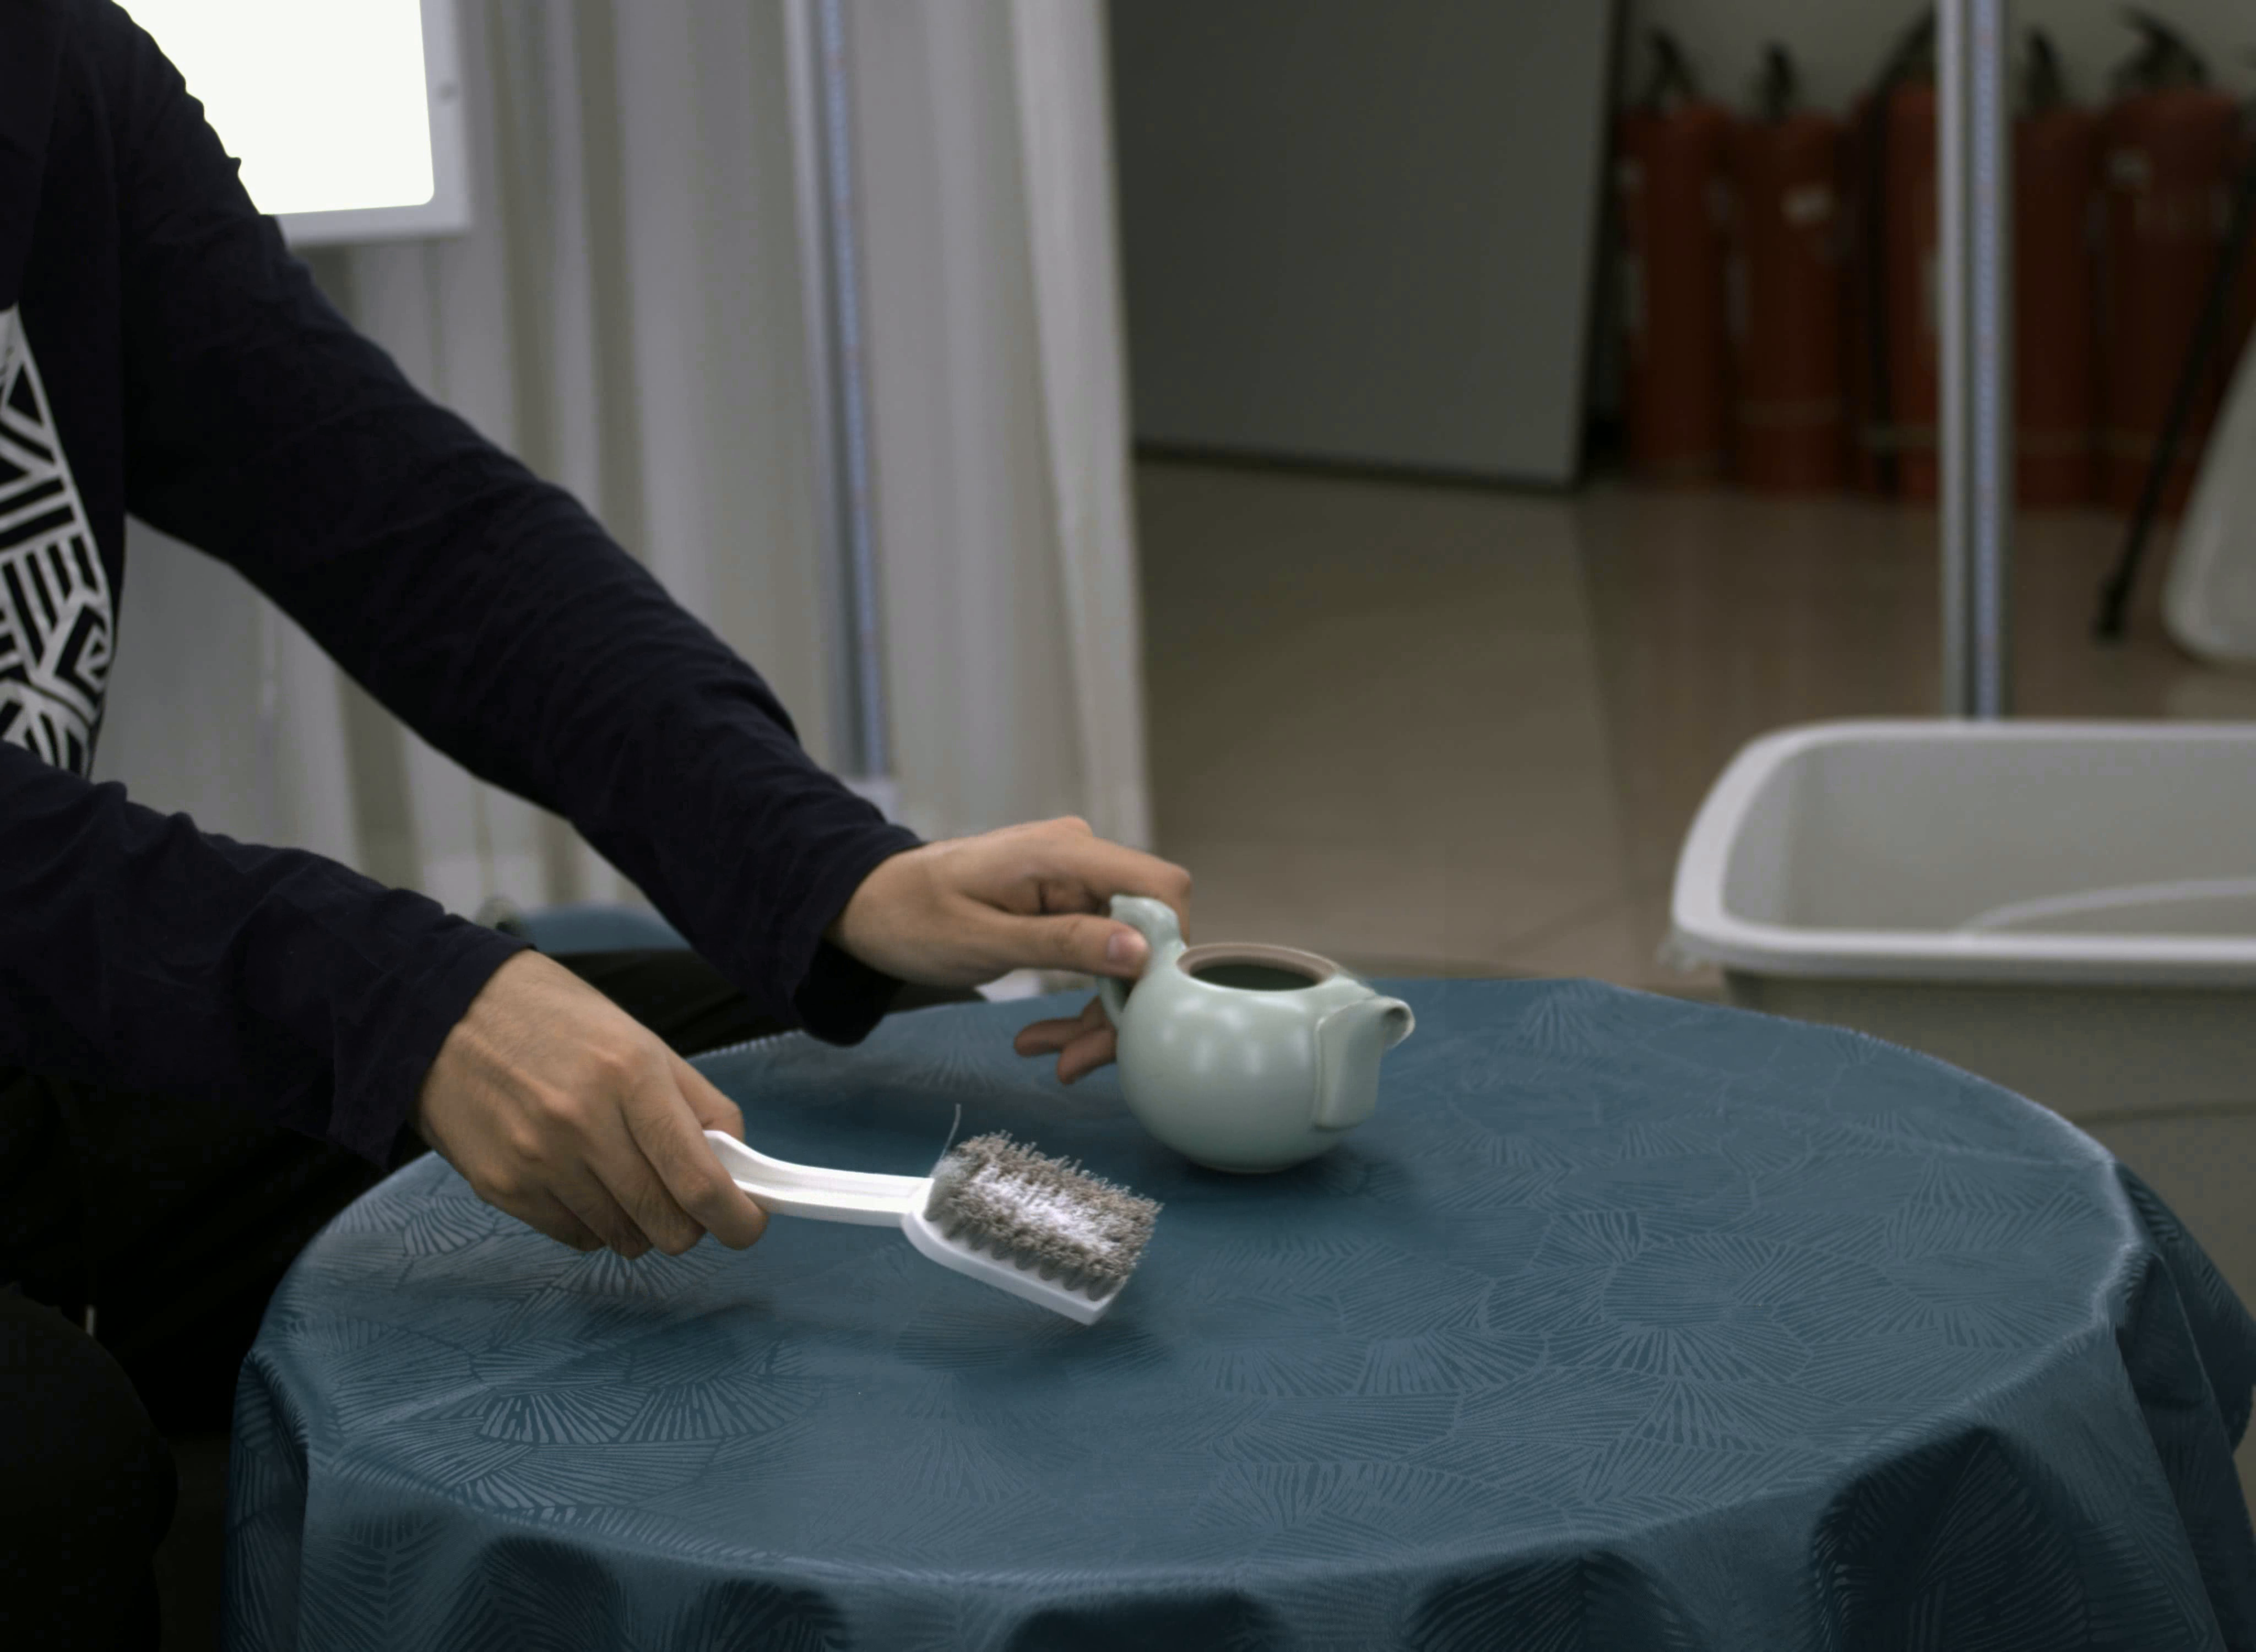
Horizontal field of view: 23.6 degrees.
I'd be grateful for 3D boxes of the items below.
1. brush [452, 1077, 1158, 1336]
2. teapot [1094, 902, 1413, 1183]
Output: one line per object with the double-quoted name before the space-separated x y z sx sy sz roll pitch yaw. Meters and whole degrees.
"brush" -0.104 0.105 1.669 0.243 0.050 0.034 15 56 20
"teapot" 0.040 0.076 1.788 0.086 0.075 0.145 -11 22 -39
